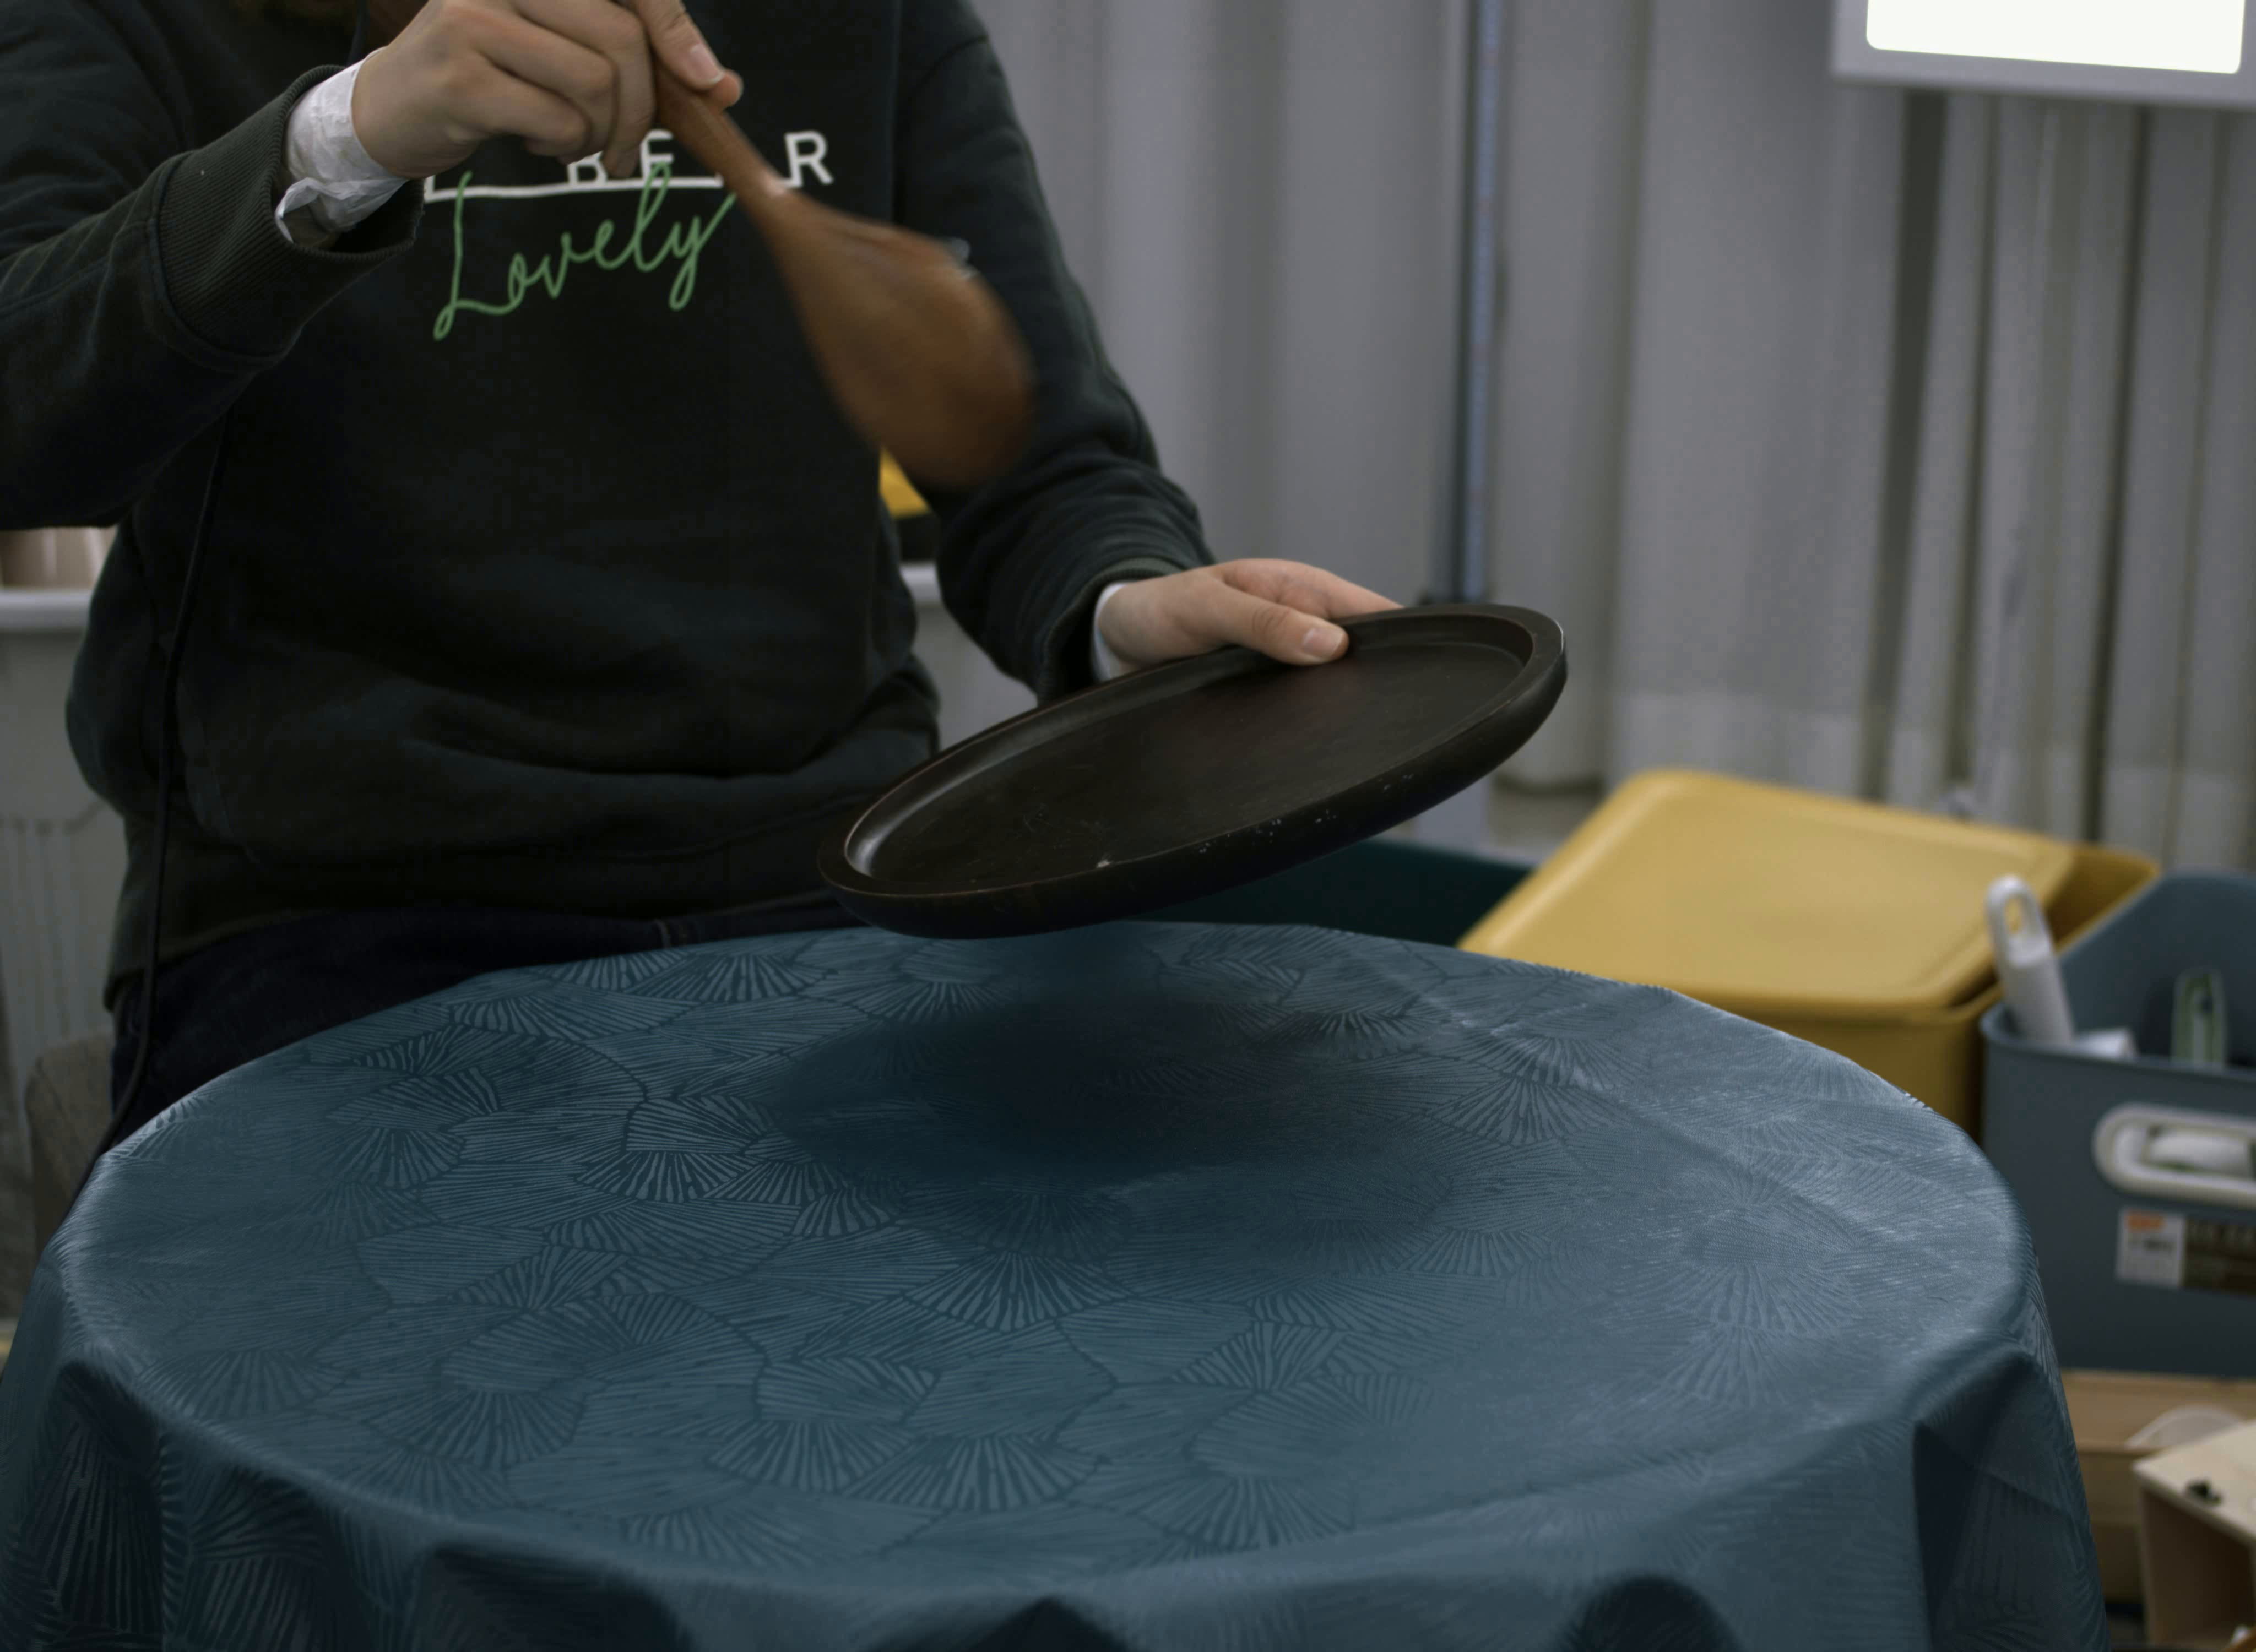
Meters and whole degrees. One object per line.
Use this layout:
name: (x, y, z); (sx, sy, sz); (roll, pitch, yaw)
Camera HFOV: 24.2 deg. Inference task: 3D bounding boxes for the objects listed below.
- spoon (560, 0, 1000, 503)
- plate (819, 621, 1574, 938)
spoon: (-0.110, -0.186, 1.614); (0.017, 0.076, 0.214); (-25, 70, -39)
plate: (0.023, -0.017, 1.707); (0.254, 0.029, 0.253); (-15, 15, 5)
